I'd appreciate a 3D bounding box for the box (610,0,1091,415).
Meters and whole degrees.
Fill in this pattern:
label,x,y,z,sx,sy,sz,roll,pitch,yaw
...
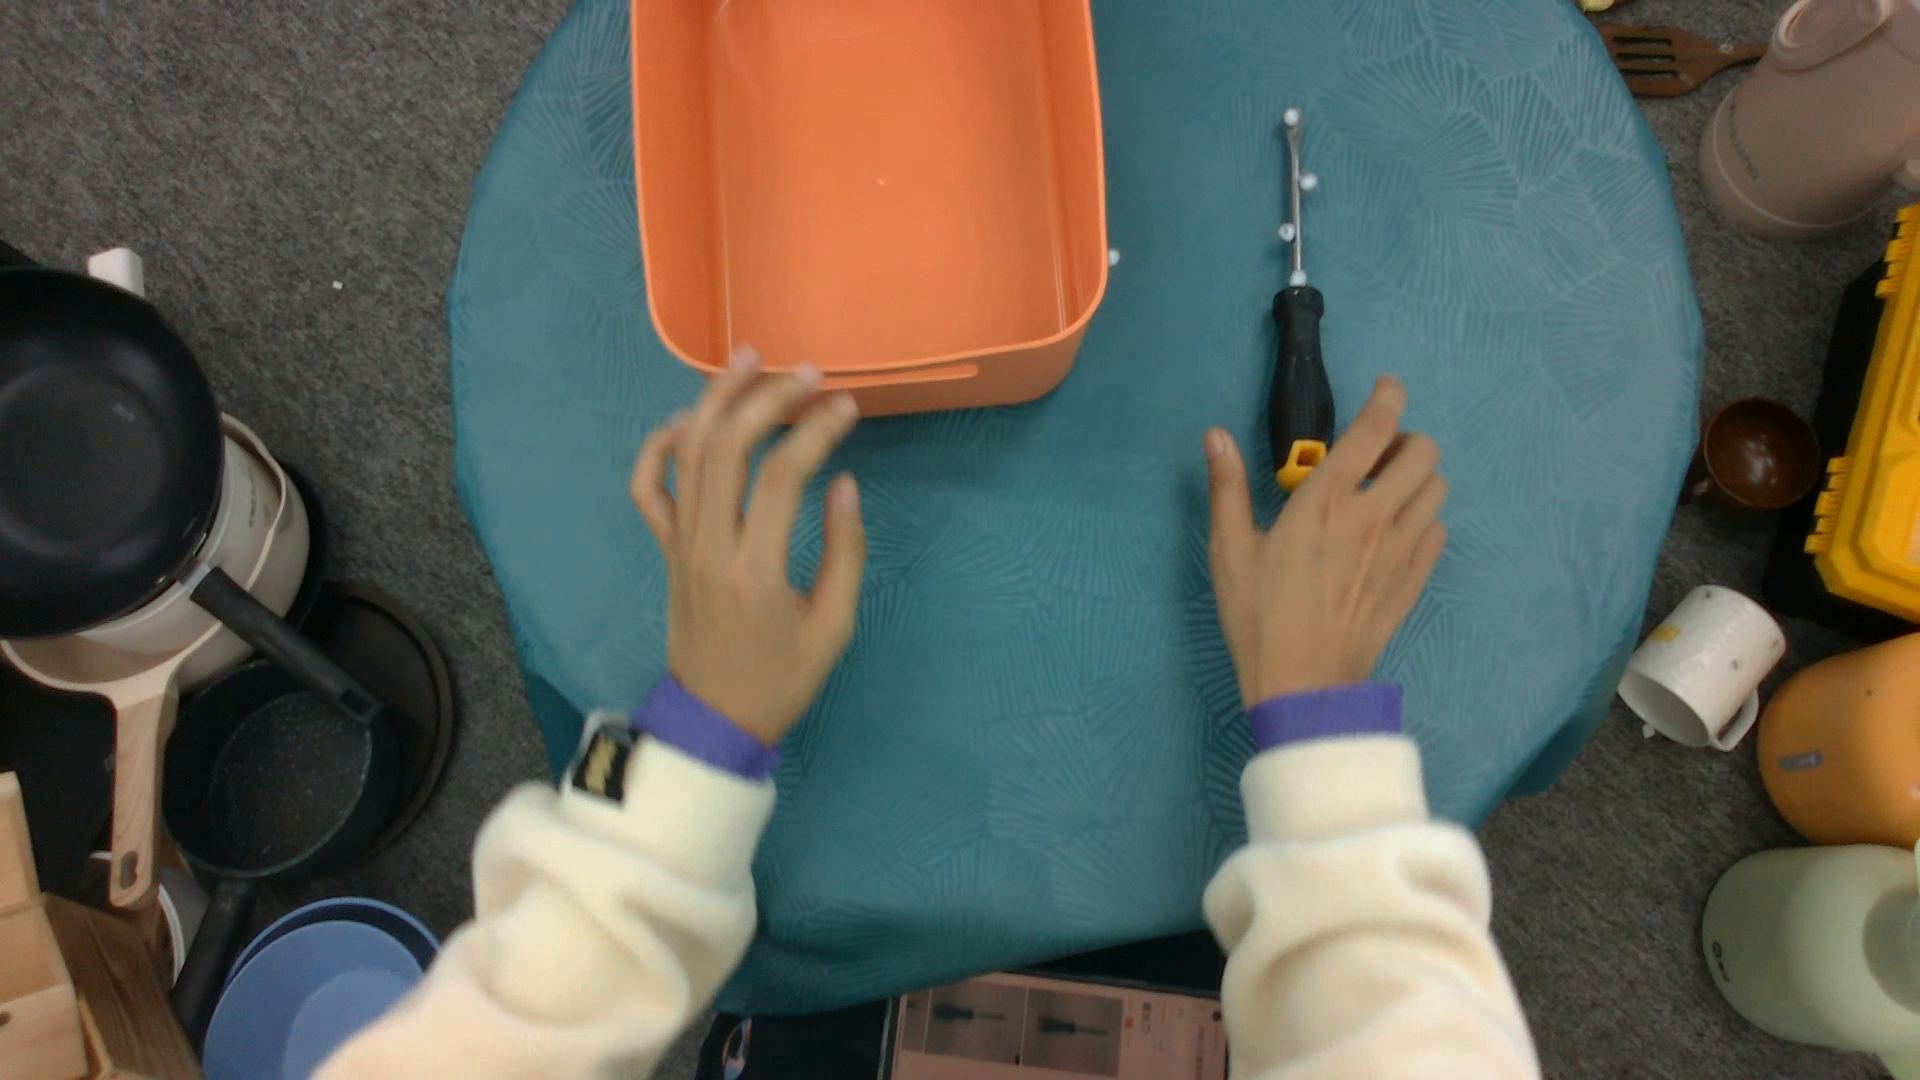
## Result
label,x,y,z,sx,sy,sz,roll,pitch,yaw
box,-0.050,-0.192,0.637,0.199,0.102,0.274,-6,75,-1

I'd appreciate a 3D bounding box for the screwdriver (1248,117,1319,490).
label,x,y,z,sx,sy,sz,roll,pitch,yaw
screwdriver,0.143,-0.115,0.641,0.031,0.031,0.198,-3,67,1
